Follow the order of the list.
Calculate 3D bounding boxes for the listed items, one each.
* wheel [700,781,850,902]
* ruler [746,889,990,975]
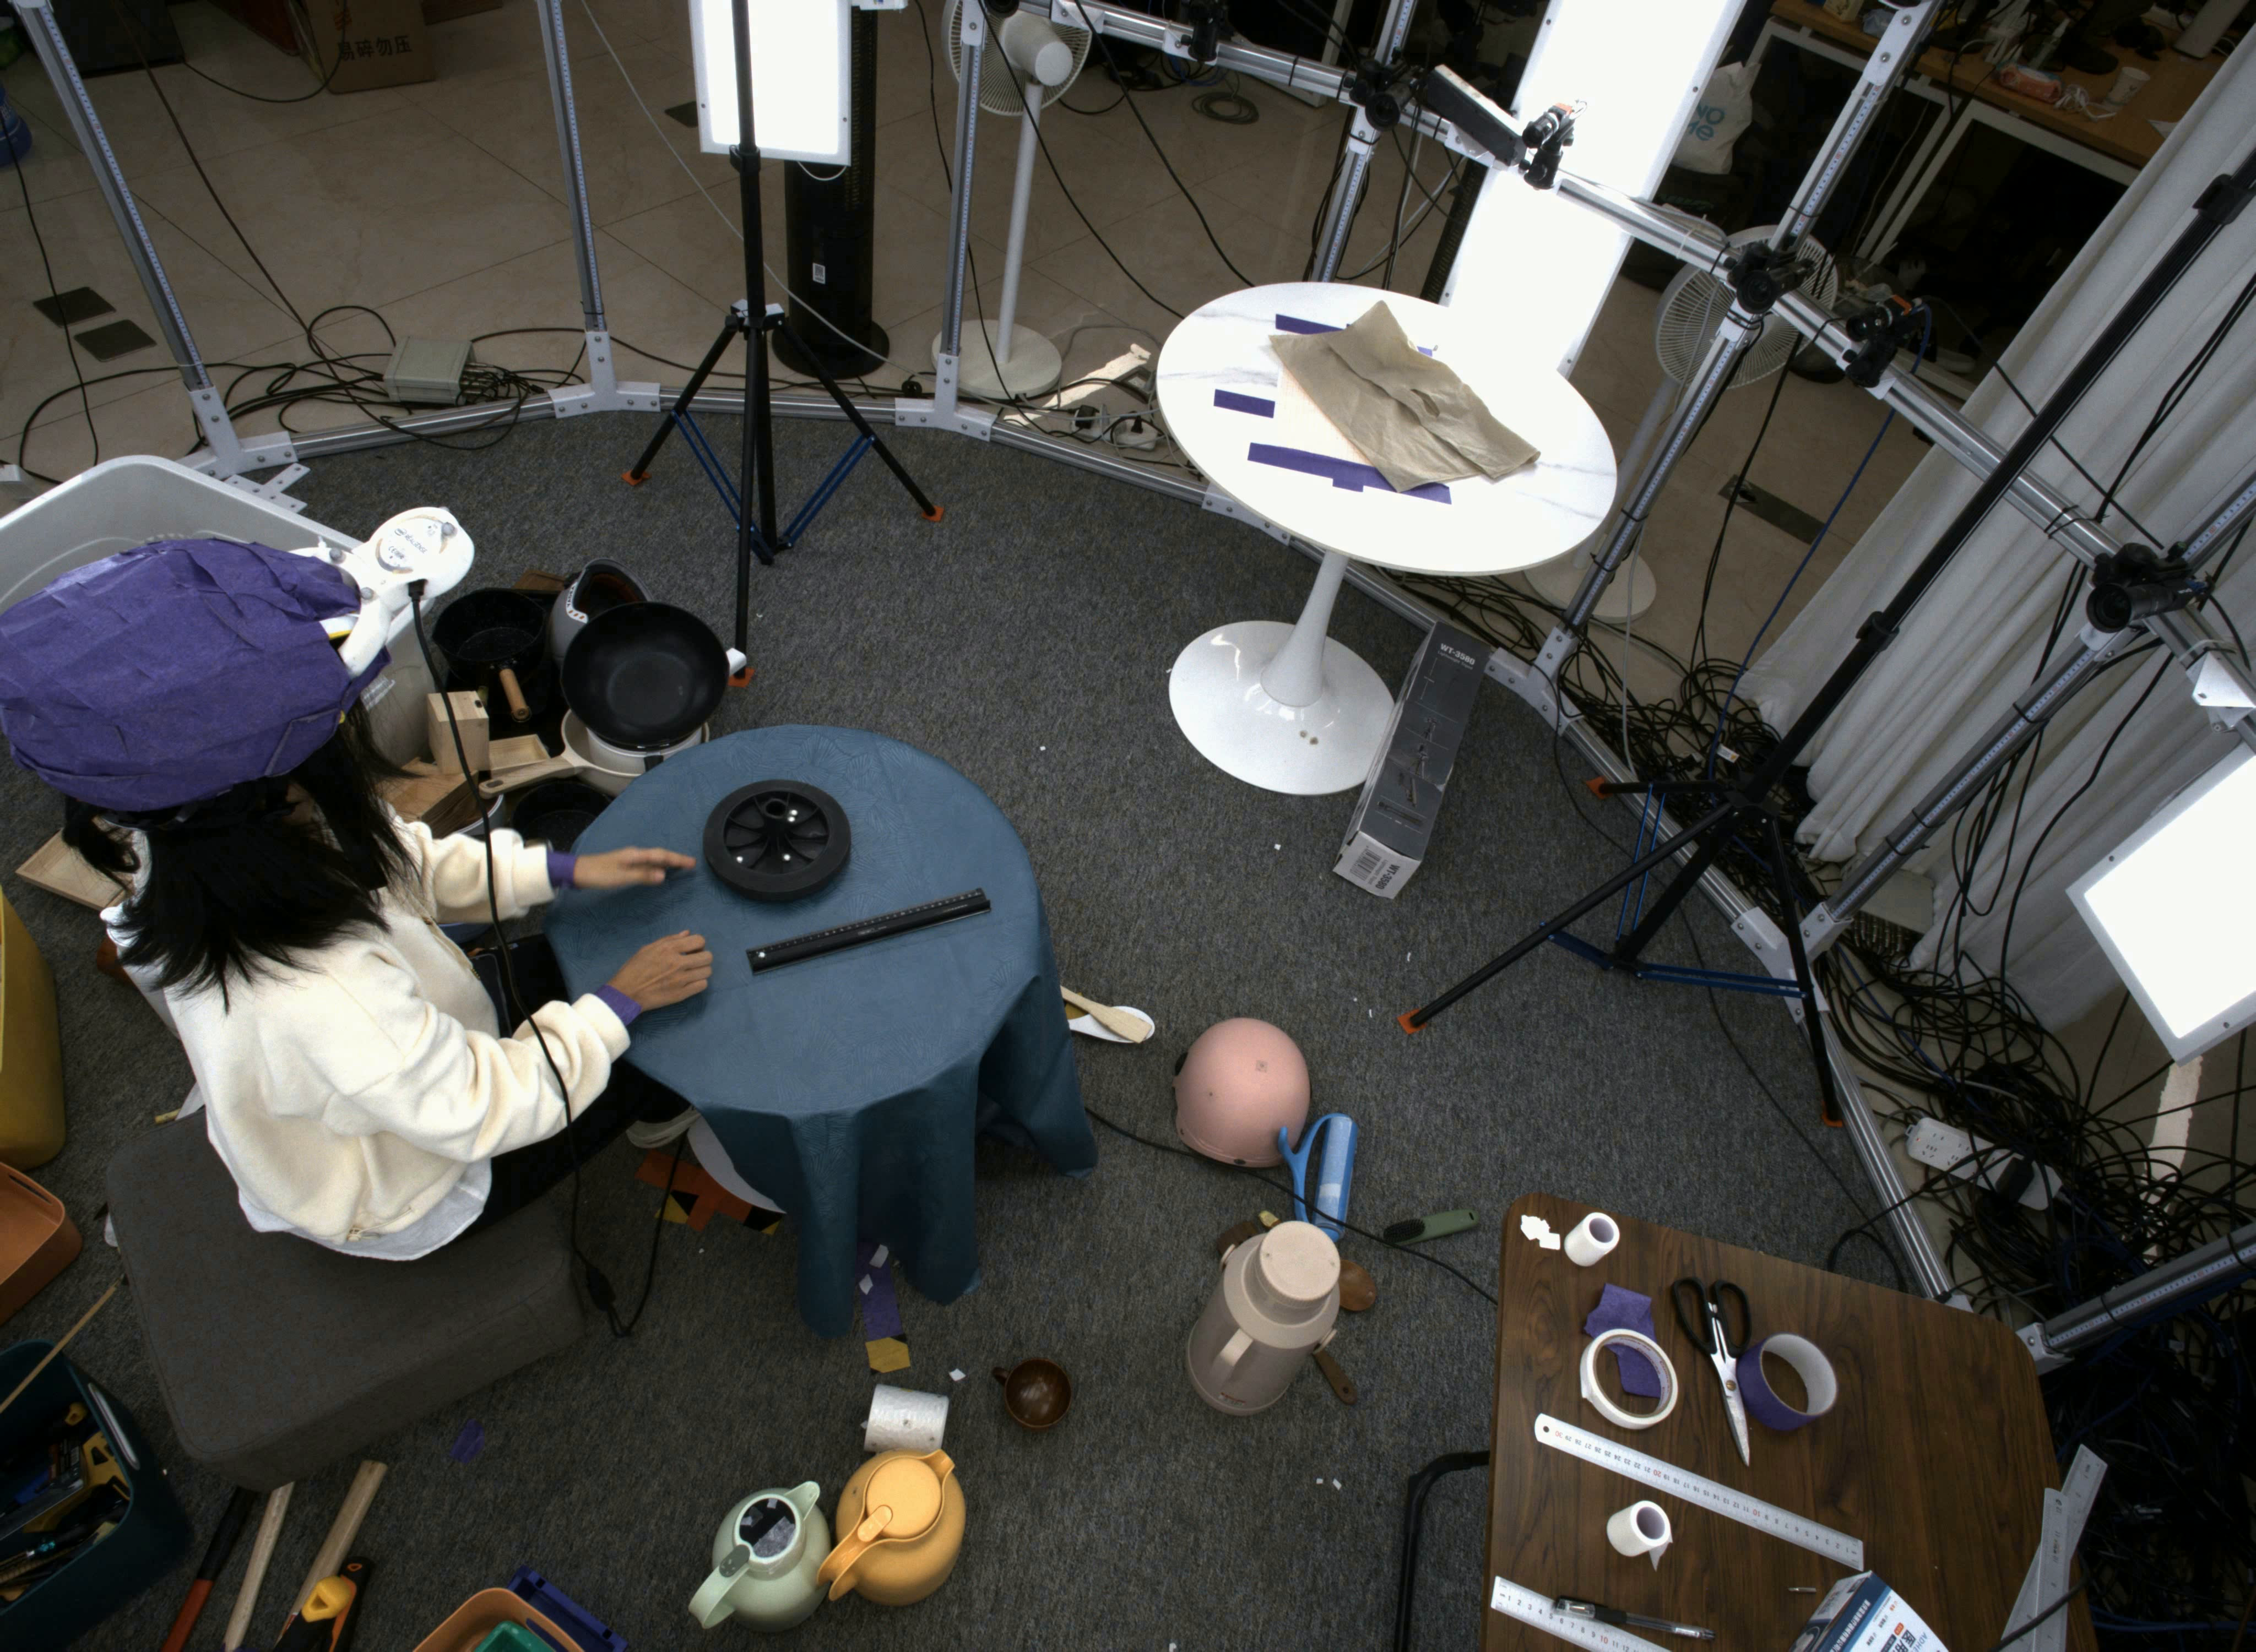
[{"bbox_3d":[-0.453,0.002,1.660,0.188,0.081,0.185,-28,62,-30],"label":"wheel"},{"bbox_3d":[-0.324,0.125,1.642,0.314,0.017,0.038,-14,54,-23],"label":"ruler"}]
